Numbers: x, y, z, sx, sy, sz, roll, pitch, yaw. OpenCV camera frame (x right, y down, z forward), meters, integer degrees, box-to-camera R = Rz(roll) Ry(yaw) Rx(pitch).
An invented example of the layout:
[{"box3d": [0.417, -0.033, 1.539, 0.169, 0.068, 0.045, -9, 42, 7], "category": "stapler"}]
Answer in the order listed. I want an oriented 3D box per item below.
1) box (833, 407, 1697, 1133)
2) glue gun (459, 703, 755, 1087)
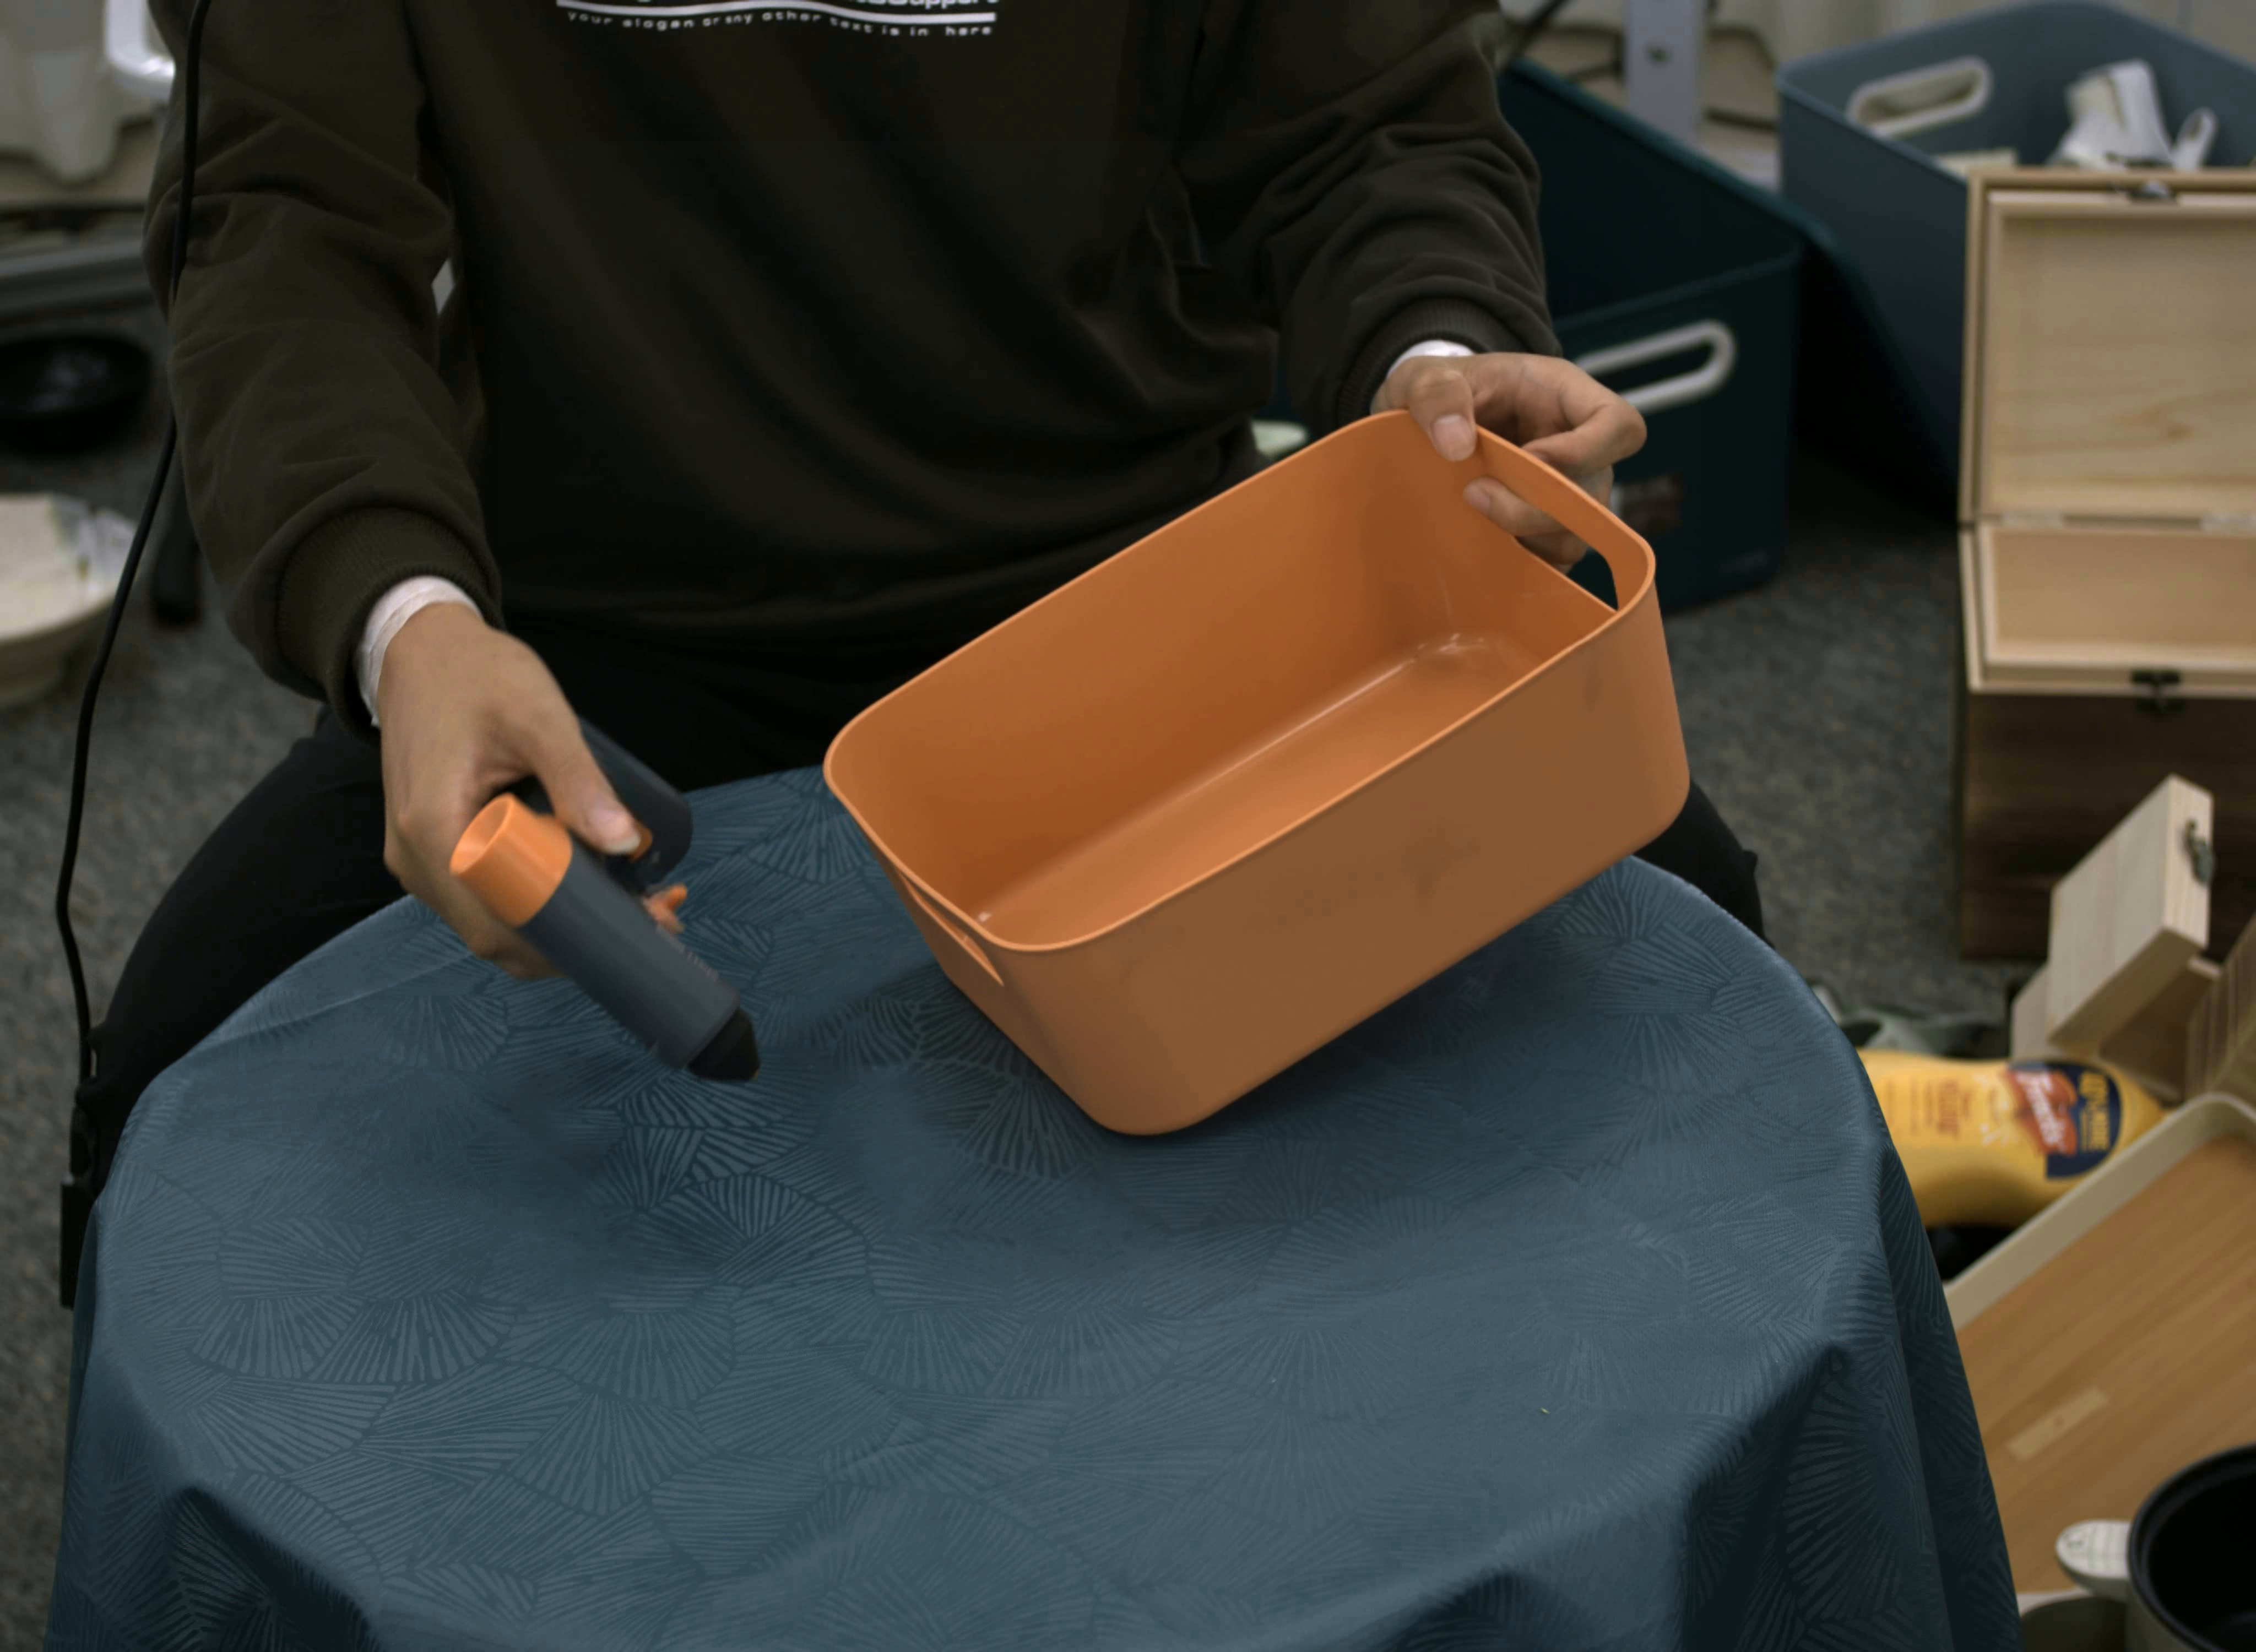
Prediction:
[{"box3d": [0.052, -0.018, 1.957, 0.275, 0.101, 0.200, -31, 34, -14], "category": "box"}, {"box3d": [-0.172, 0.022, 1.885, 0.040, 0.117, 0.141, -42, 24, 12], "category": "glue gun"}]
